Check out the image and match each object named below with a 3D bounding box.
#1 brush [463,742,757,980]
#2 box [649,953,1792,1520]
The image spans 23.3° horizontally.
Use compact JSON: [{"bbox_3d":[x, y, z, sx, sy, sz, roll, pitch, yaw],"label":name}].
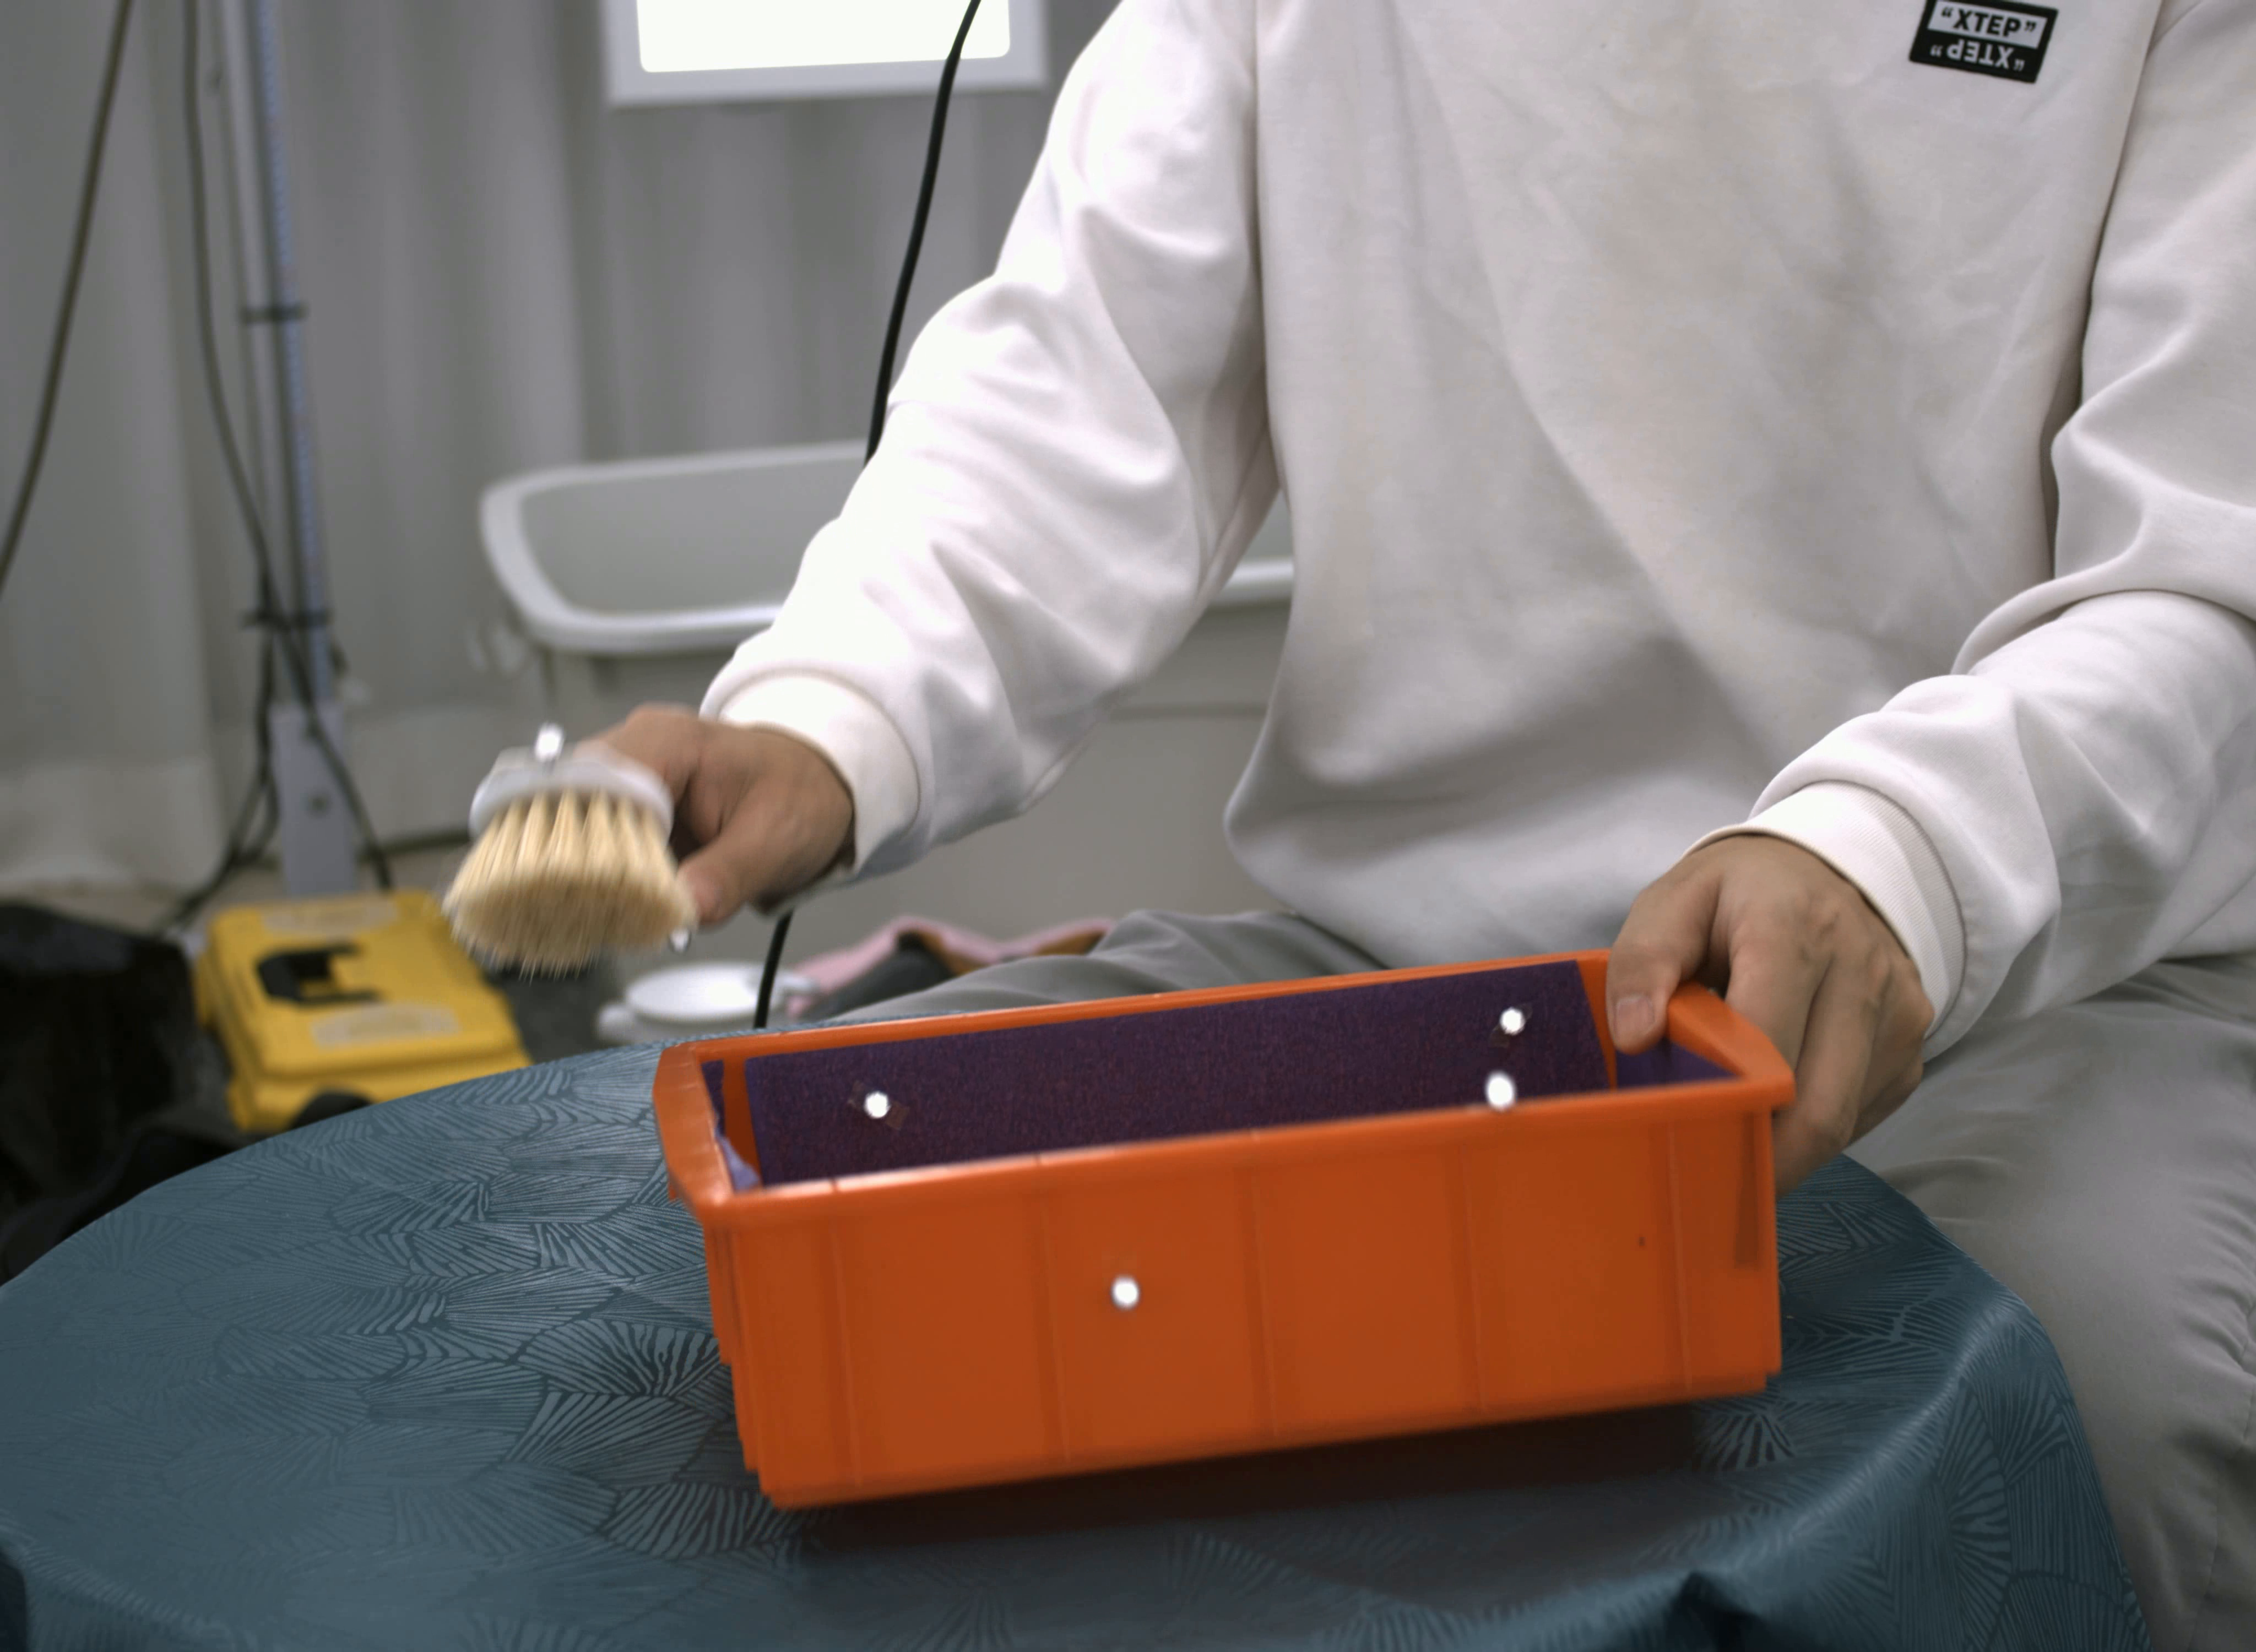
[{"bbox_3d":[-0.149,0.036,1.704,0.068,0.057,0.264,4,-15,6],"label":"brush"},{"bbox_3d":[0.022,0.111,1.525,0.302,0.096,0.207,-4,9,-7],"label":"box"}]
